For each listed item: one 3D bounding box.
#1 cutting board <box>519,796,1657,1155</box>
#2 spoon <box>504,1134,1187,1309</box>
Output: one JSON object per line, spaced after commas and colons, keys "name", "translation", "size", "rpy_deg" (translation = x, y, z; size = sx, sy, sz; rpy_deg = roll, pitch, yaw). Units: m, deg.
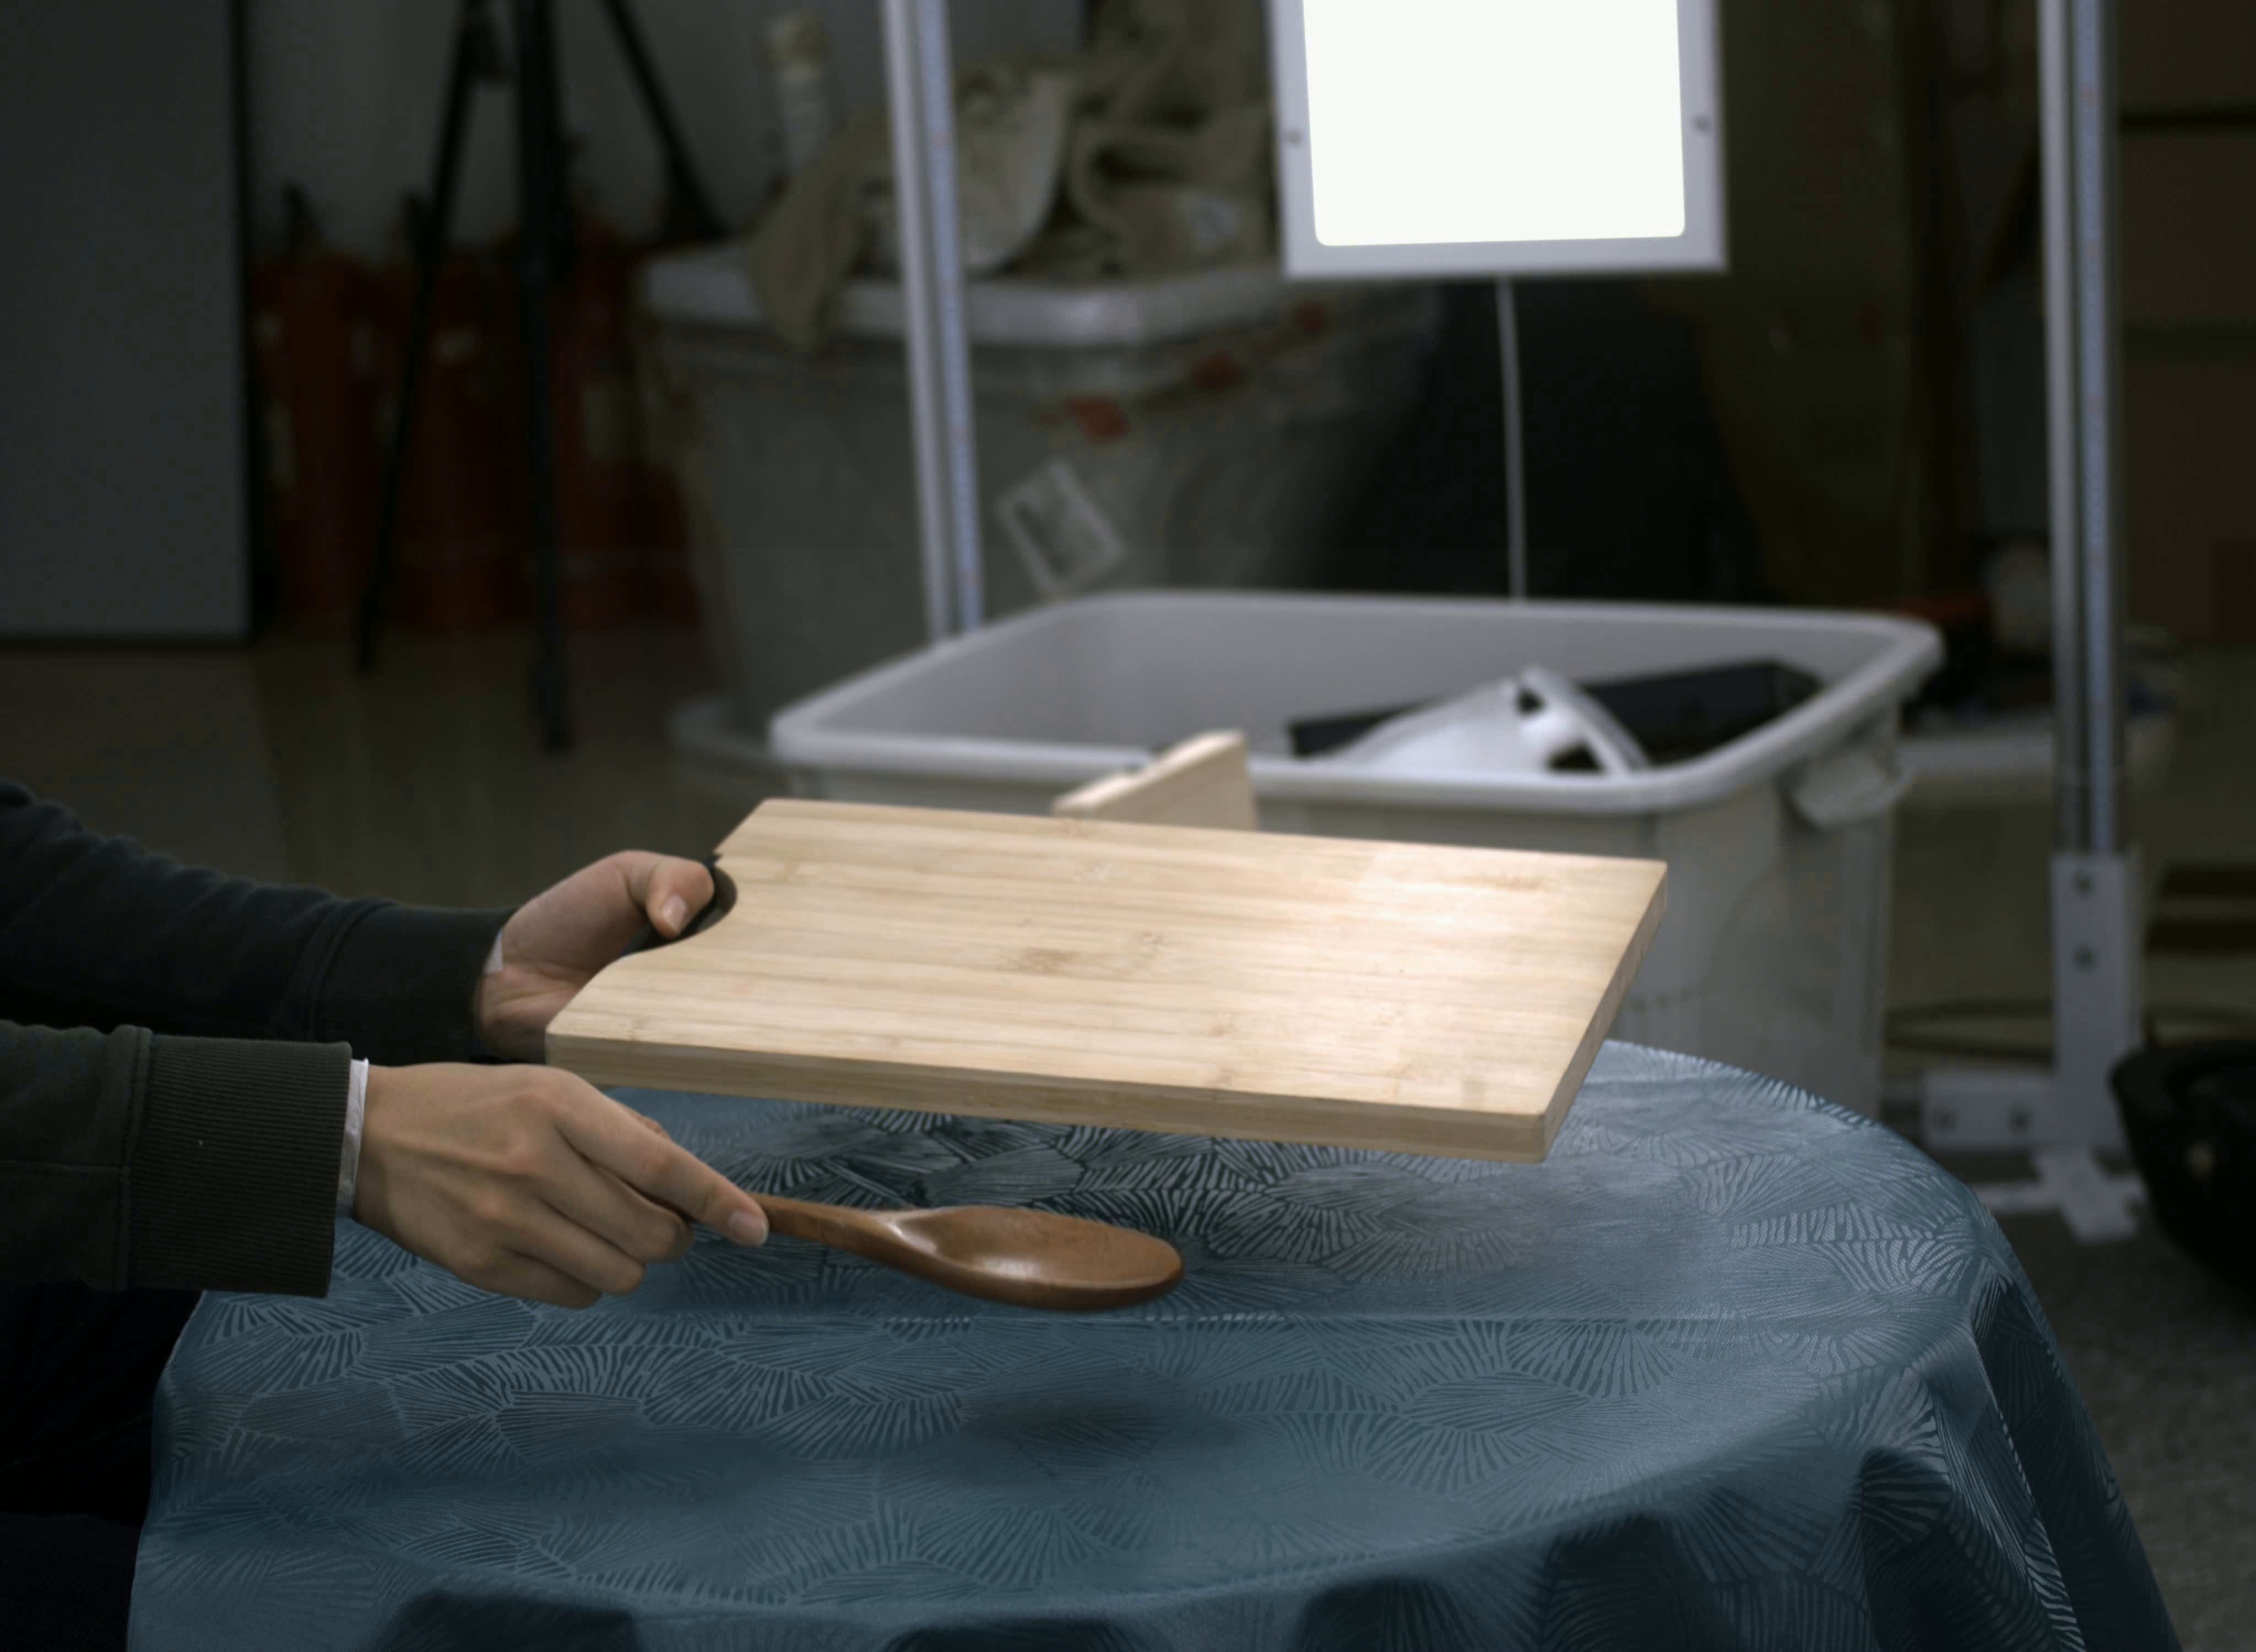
{"name": "cutting board", "translation": [-0.007, 0.048, 1.898], "size": [0.352, 0.024, 0.247], "rpy_deg": [3, 20, 15]}
{"name": "spoon", "translation": [-0.088, 0.120, 1.684], "size": [0.217, 0.017, 0.074], "rpy_deg": [10, 15, 13]}
